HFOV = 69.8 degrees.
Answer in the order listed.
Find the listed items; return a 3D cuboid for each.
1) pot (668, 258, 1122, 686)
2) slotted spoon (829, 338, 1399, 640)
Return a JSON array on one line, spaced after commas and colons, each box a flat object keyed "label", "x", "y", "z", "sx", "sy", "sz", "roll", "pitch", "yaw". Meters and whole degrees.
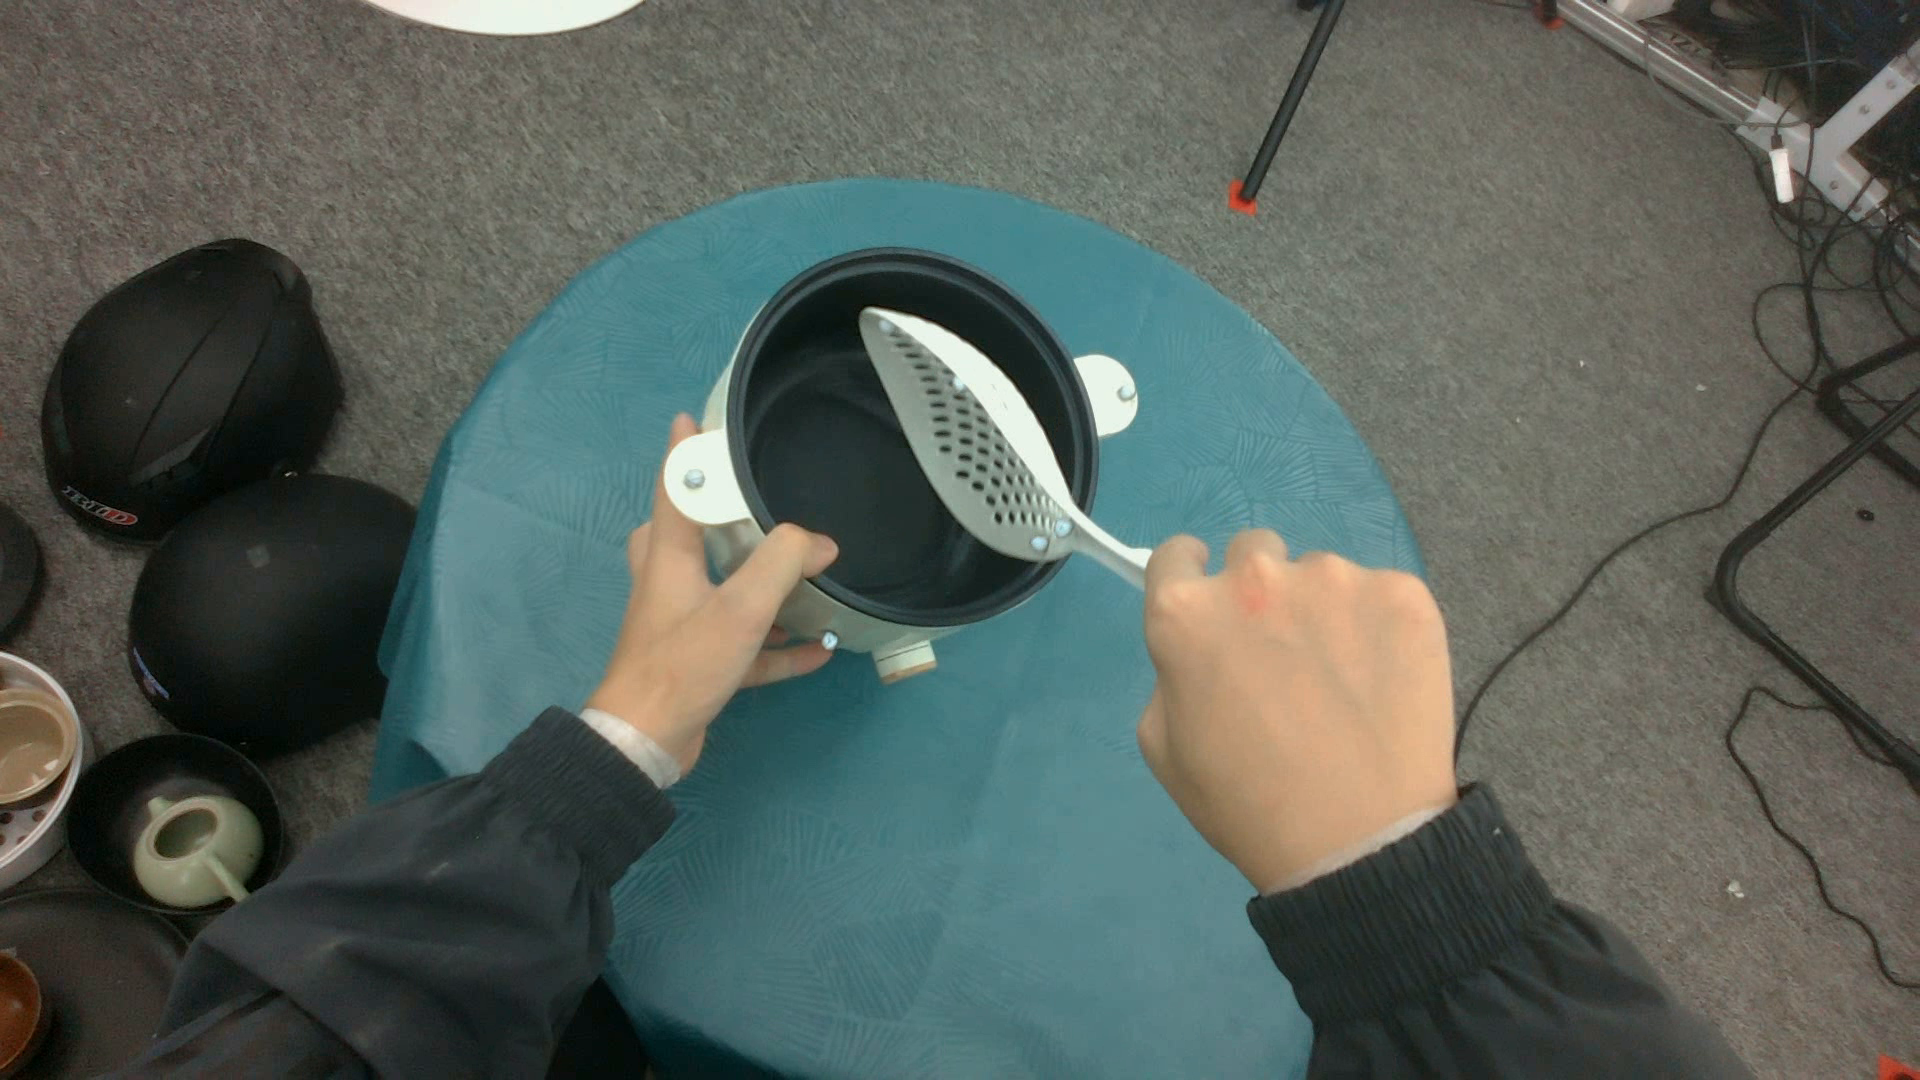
[{"label": "pot", "x": -0.042, "y": -0.027, "z": 0.701, "sx": 0.241, "sy": 0.142, "sz": 0.190, "roll": -18, "pitch": 80, "yaw": -25}, {"label": "slotted spoon", "x": 0.044, "y": -0.012, "z": 0.578, "sx": 0.050, "sy": 0.136, "sz": 0.348, "roll": -34, "pitch": 32, "yaw": -13}]
